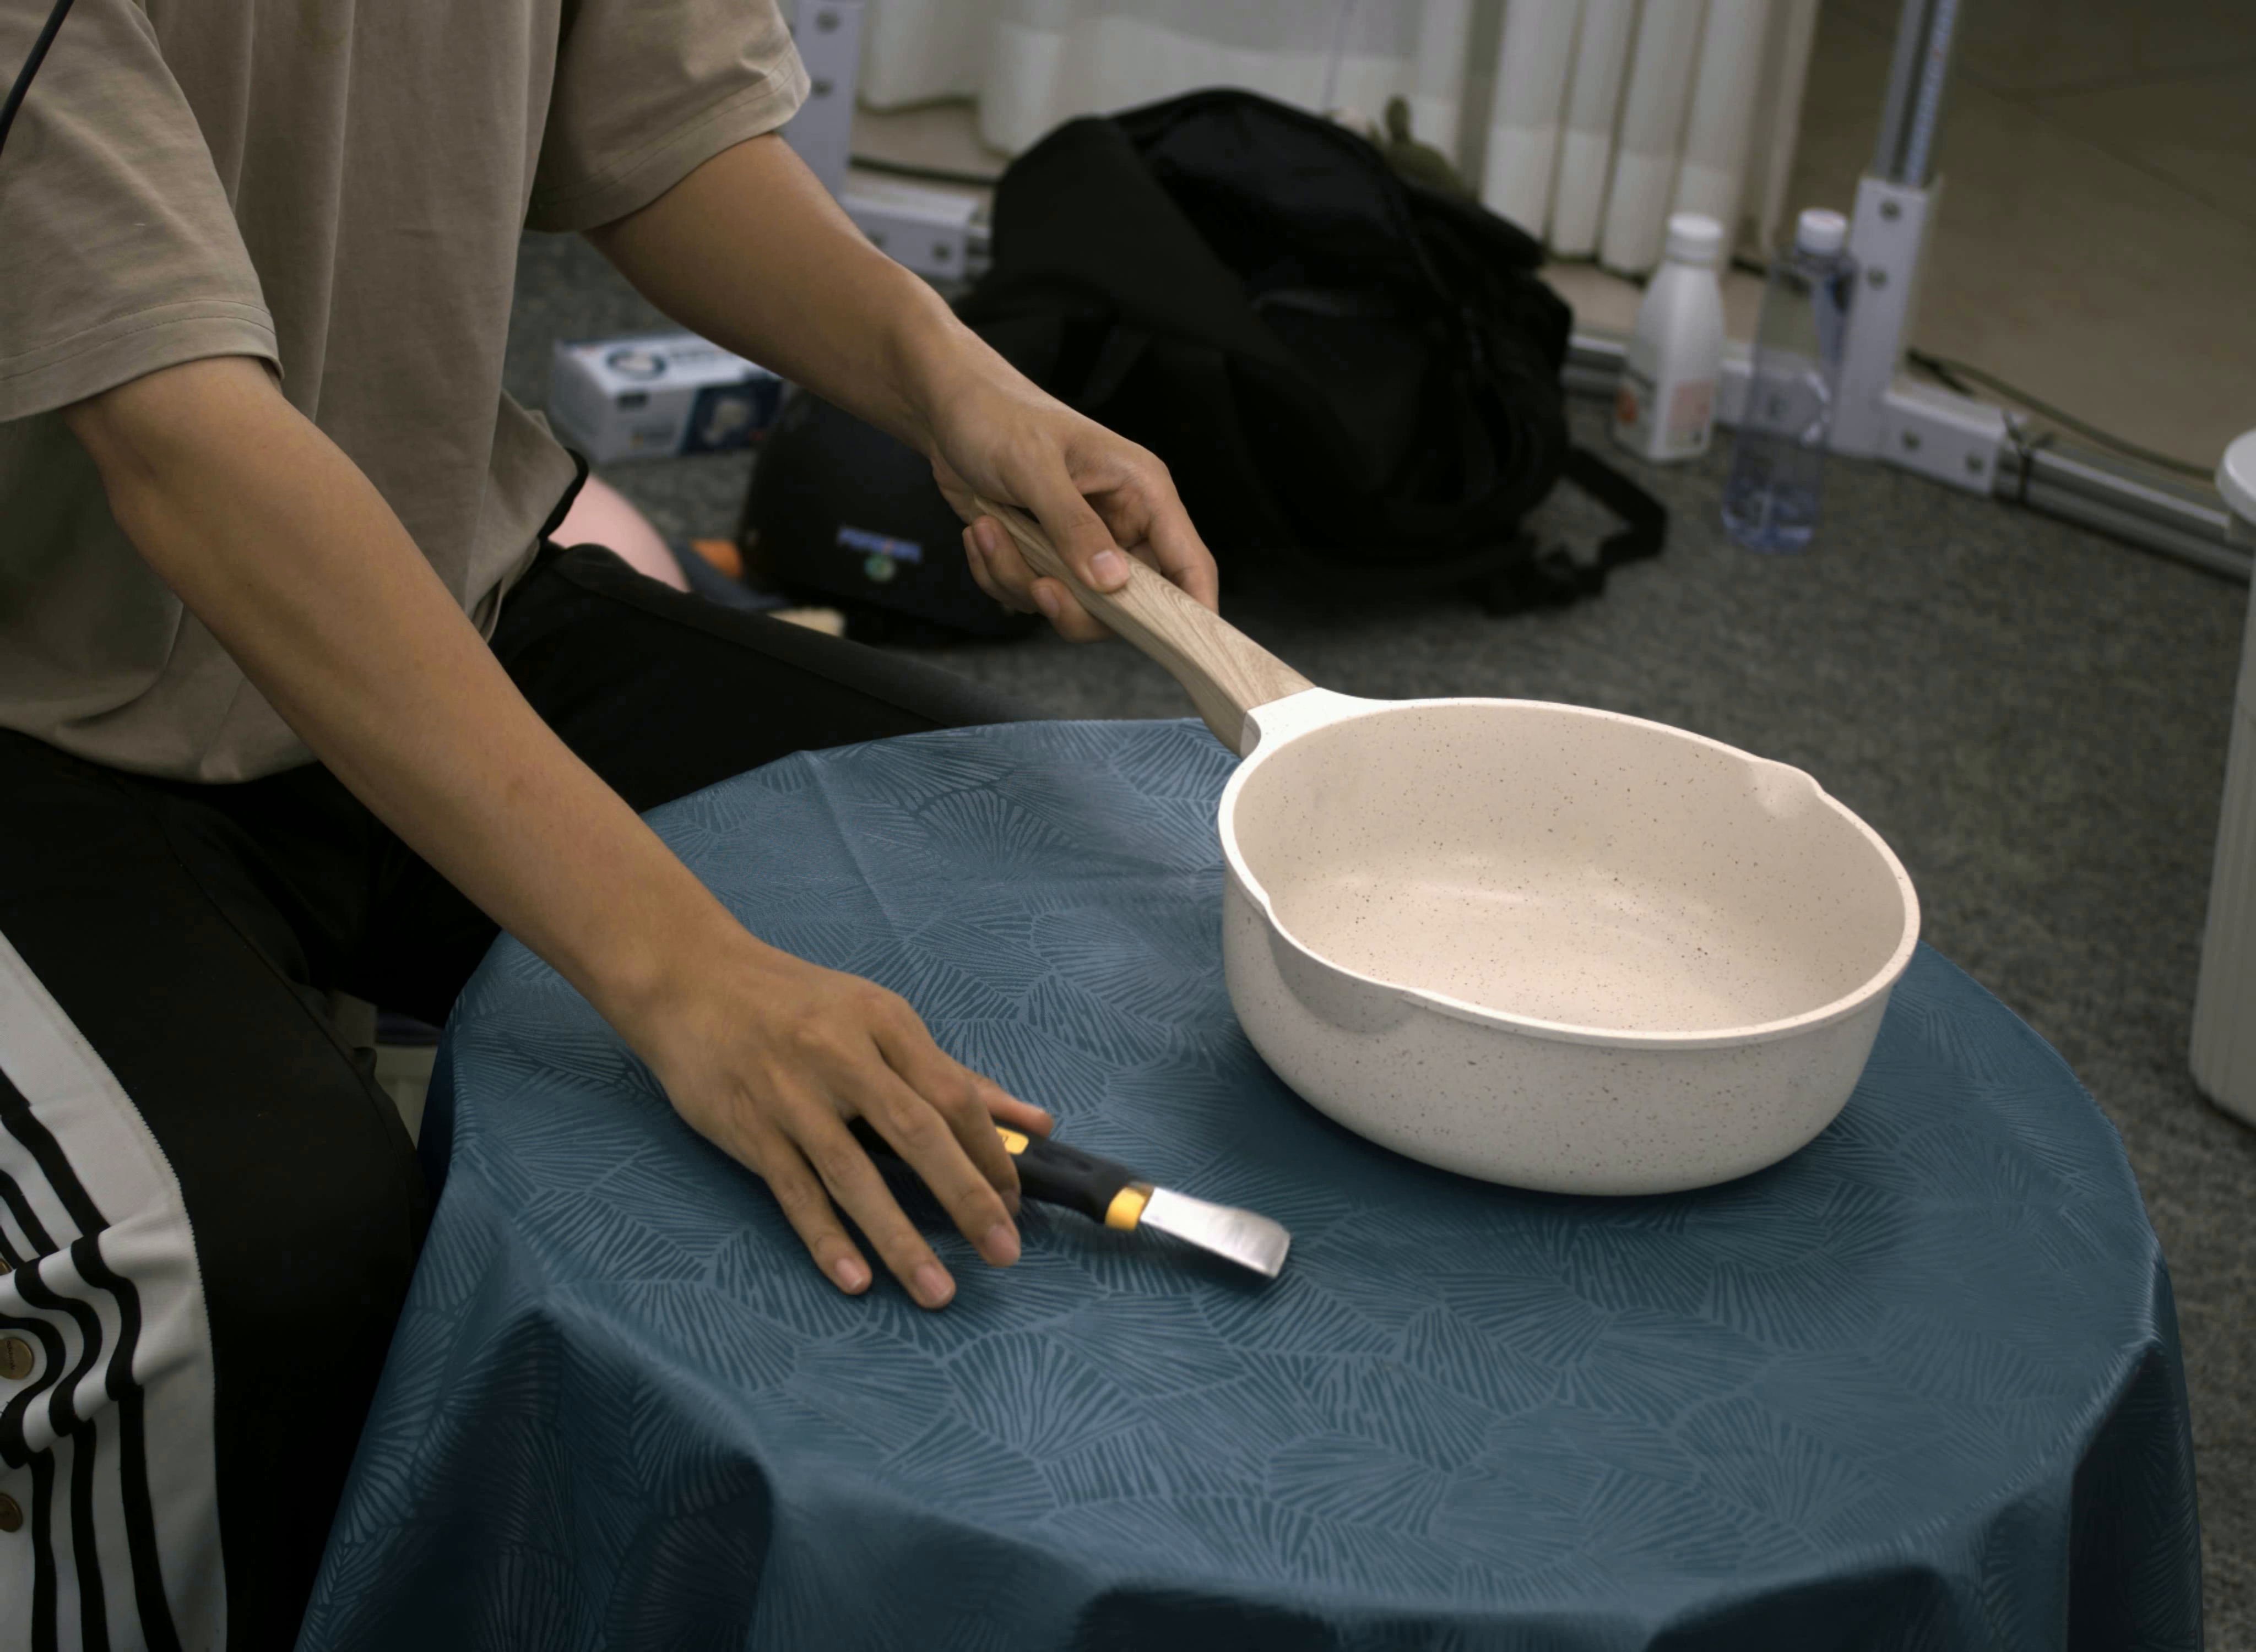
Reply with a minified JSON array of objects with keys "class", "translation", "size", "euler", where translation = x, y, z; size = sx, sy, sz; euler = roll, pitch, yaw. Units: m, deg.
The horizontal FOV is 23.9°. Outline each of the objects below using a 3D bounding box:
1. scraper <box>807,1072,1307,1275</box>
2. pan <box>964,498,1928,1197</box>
[{"class":"scraper","translation":[-0.025,0.115,1.771],"size":[0.171,0.015,0.039],"euler":[16,37,8]},{"class":"pan","translation":[0.092,0.003,1.959],"size":[0.262,0.101,0.438],"euler":[-22,39,-39]}]
